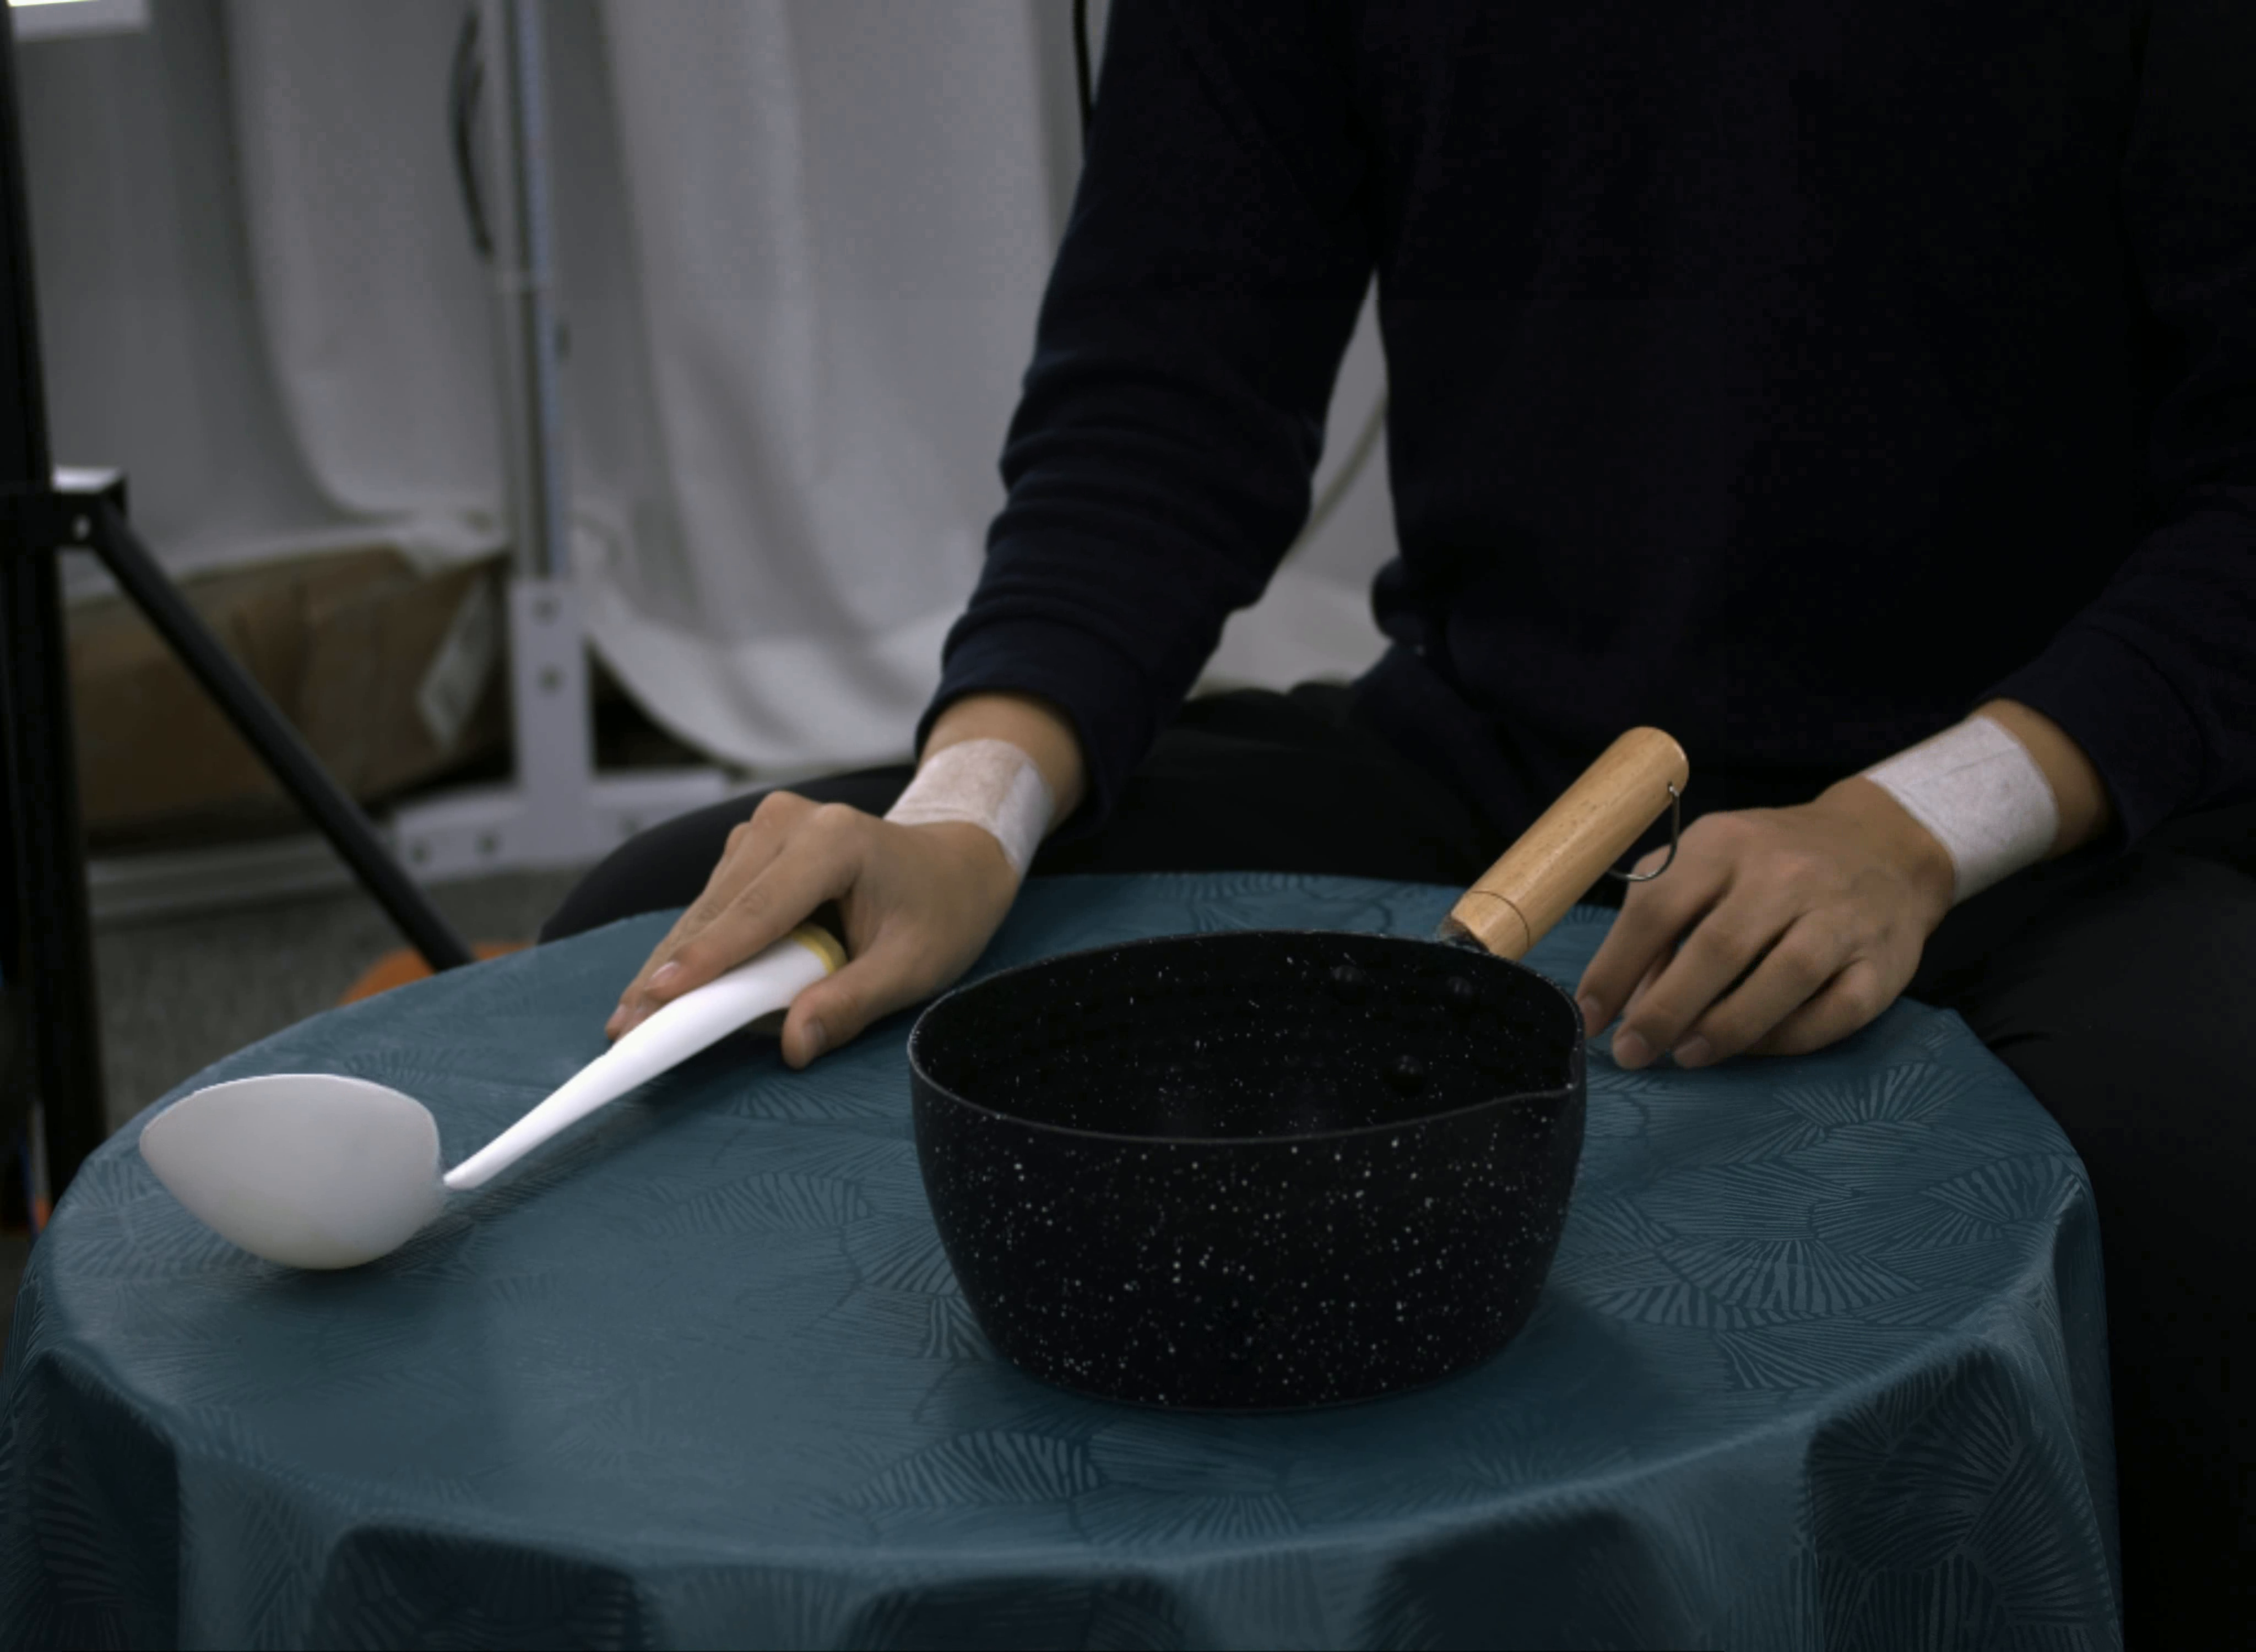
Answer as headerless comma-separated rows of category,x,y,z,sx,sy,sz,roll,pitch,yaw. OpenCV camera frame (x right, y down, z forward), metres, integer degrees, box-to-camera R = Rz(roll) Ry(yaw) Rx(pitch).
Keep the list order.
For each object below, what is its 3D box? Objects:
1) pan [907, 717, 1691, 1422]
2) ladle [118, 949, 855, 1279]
pan,0.074,0.064,1.504,0.211,0.108,0.336,6,19,31
ladle,-0.184,0.073,1.616,0.091,0.070,0.287,-31,-4,35
